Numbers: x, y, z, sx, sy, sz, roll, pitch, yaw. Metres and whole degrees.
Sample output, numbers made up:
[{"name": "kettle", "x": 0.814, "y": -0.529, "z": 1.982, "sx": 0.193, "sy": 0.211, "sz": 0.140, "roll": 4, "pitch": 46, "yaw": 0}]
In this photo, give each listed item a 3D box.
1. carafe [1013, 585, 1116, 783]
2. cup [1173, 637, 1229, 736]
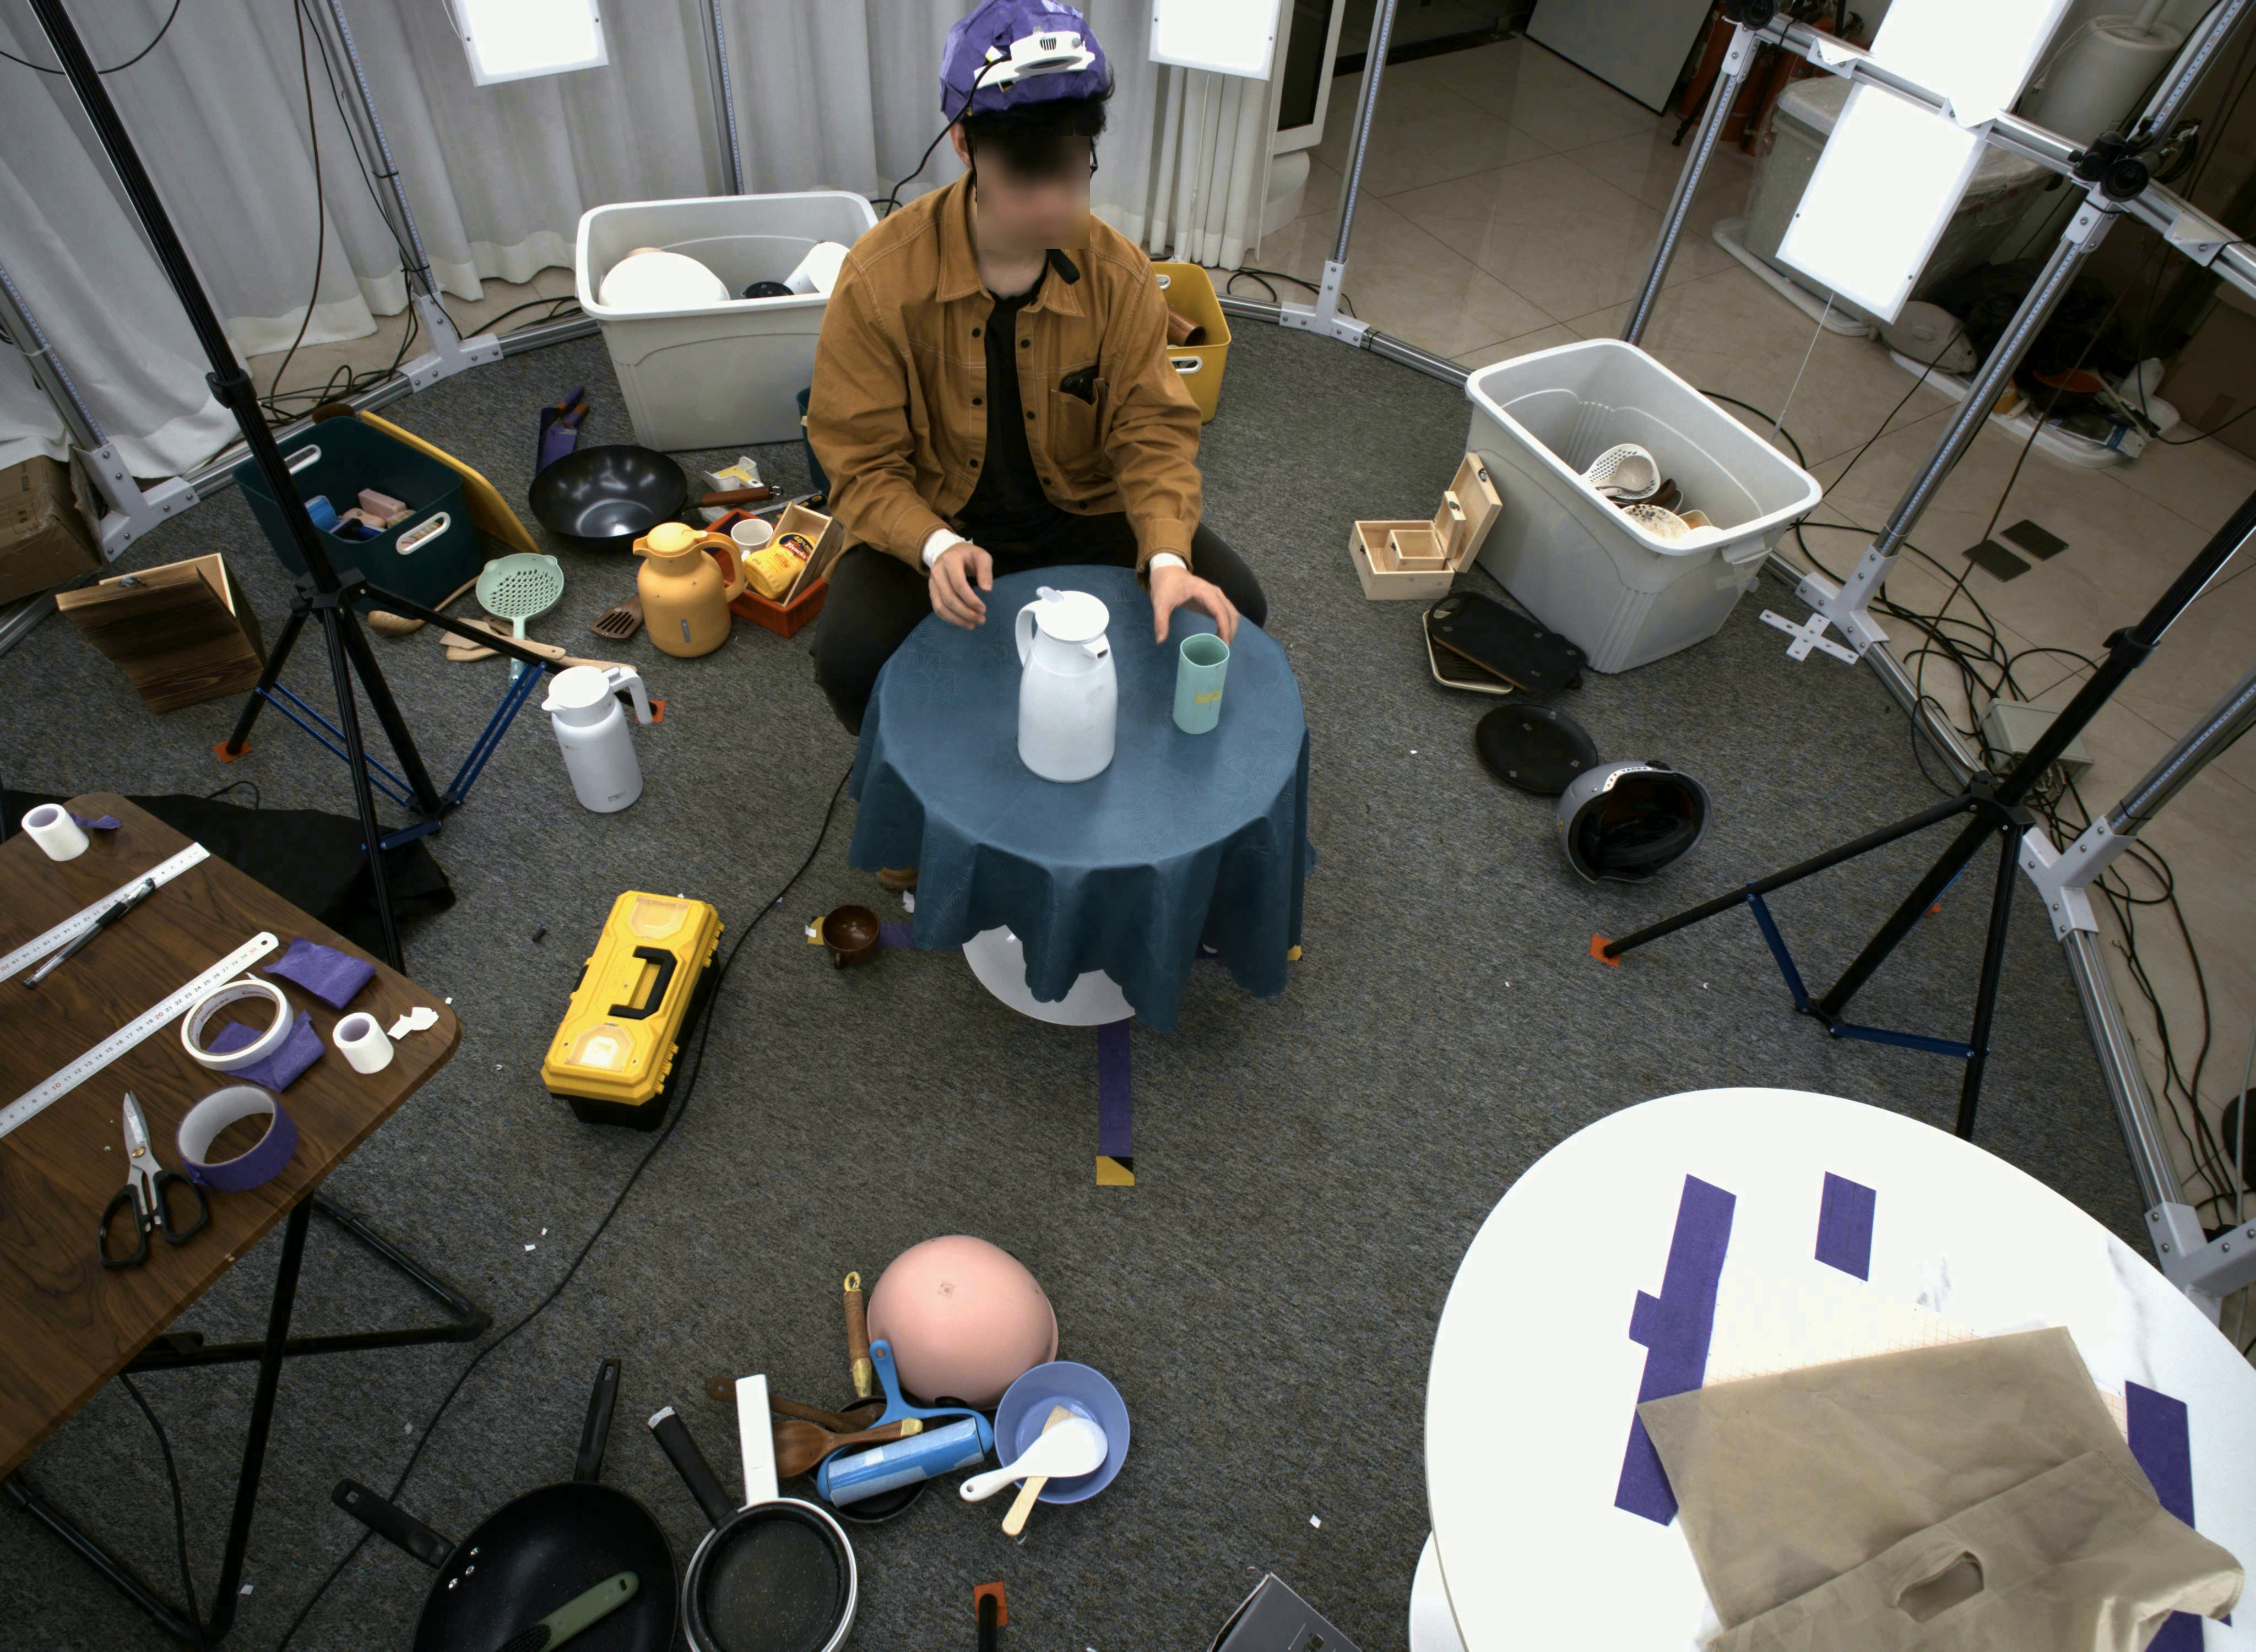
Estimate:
[{"name": "carafe", "x": -0.092, "y": -0.196, "z": 1.674, "sx": 0.133, "sy": 0.242, "sz": 0.170, "roll": -32, "pitch": 58, "yaw": -27}, {"name": "cup", "x": 0.099, "y": -0.192, "z": 1.762, "sx": 0.066, "sy": 0.129, "sz": 0.068, "roll": 2, "pitch": 49, "yaw": -3}]
